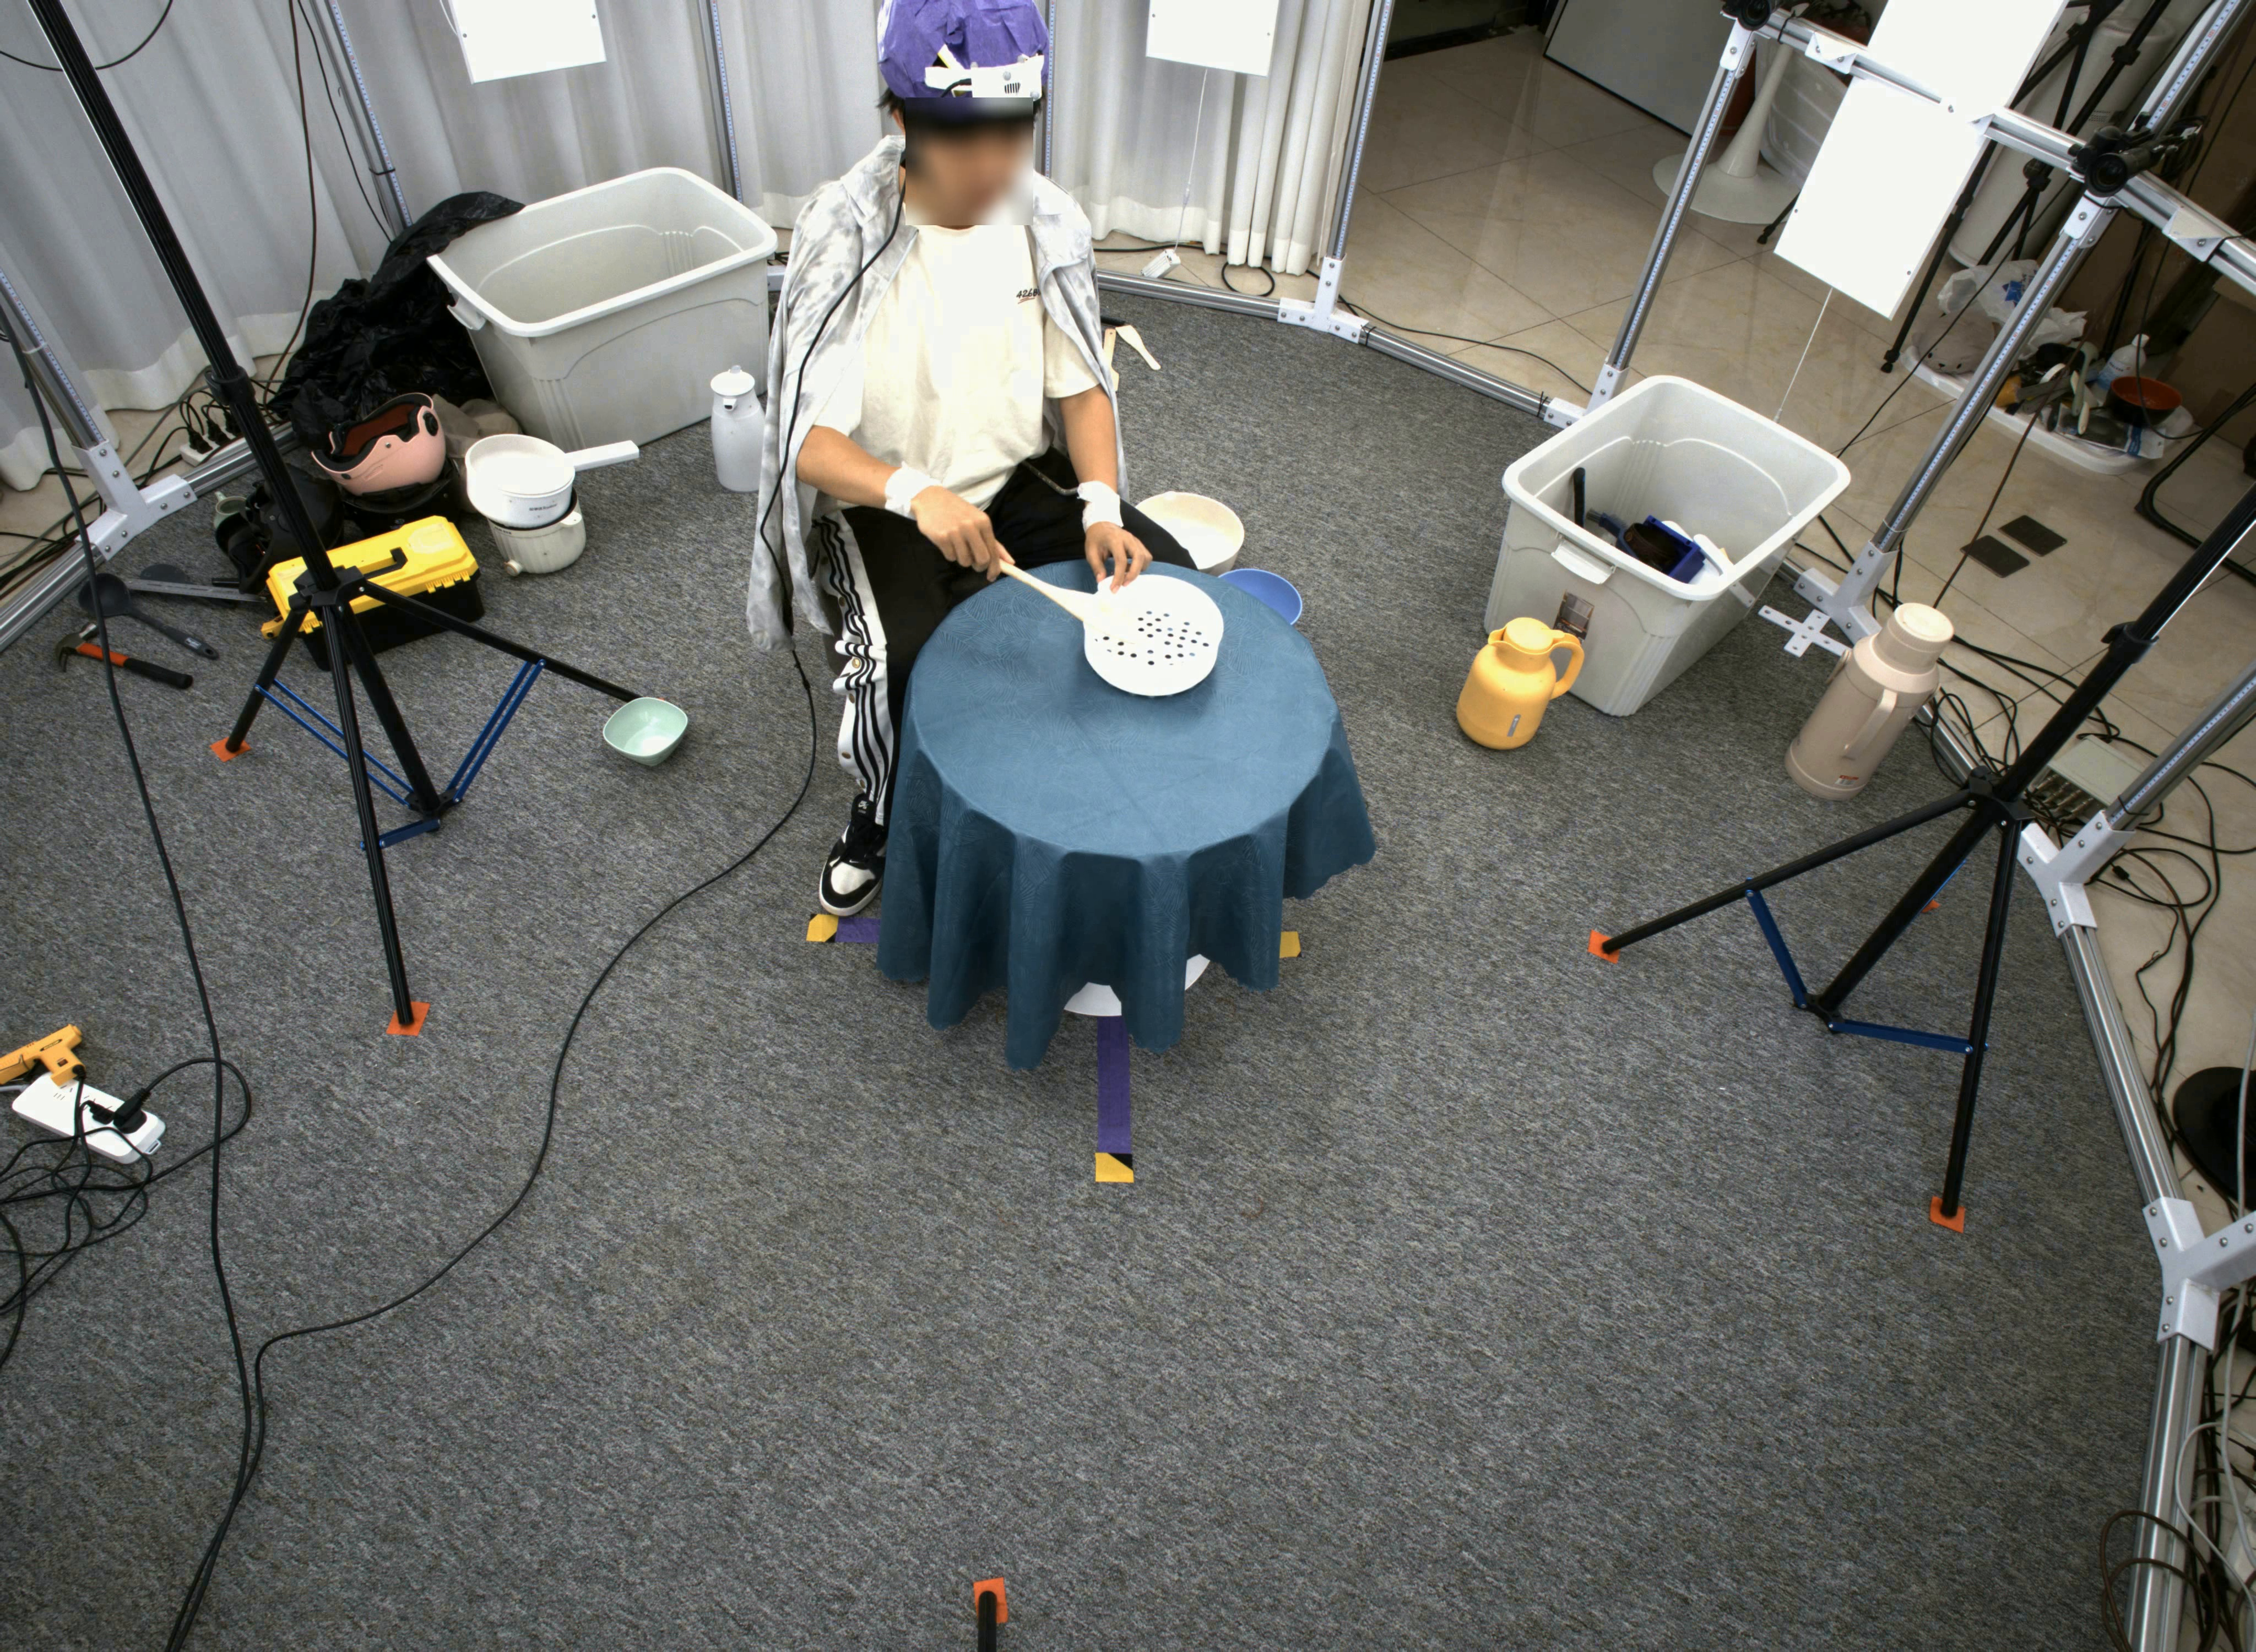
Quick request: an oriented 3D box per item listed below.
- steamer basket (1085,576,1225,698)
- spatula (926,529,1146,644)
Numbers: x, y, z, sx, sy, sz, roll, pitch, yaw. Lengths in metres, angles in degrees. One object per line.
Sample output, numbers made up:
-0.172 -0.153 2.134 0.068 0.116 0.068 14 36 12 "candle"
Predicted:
0.037 -0.271 1.857 0.202 0.067 0.235 -21 52 -22 "steamer basket"
-0.119 -0.328 1.732 0.324 0.016 0.082 21 43 -23 "spatula"
